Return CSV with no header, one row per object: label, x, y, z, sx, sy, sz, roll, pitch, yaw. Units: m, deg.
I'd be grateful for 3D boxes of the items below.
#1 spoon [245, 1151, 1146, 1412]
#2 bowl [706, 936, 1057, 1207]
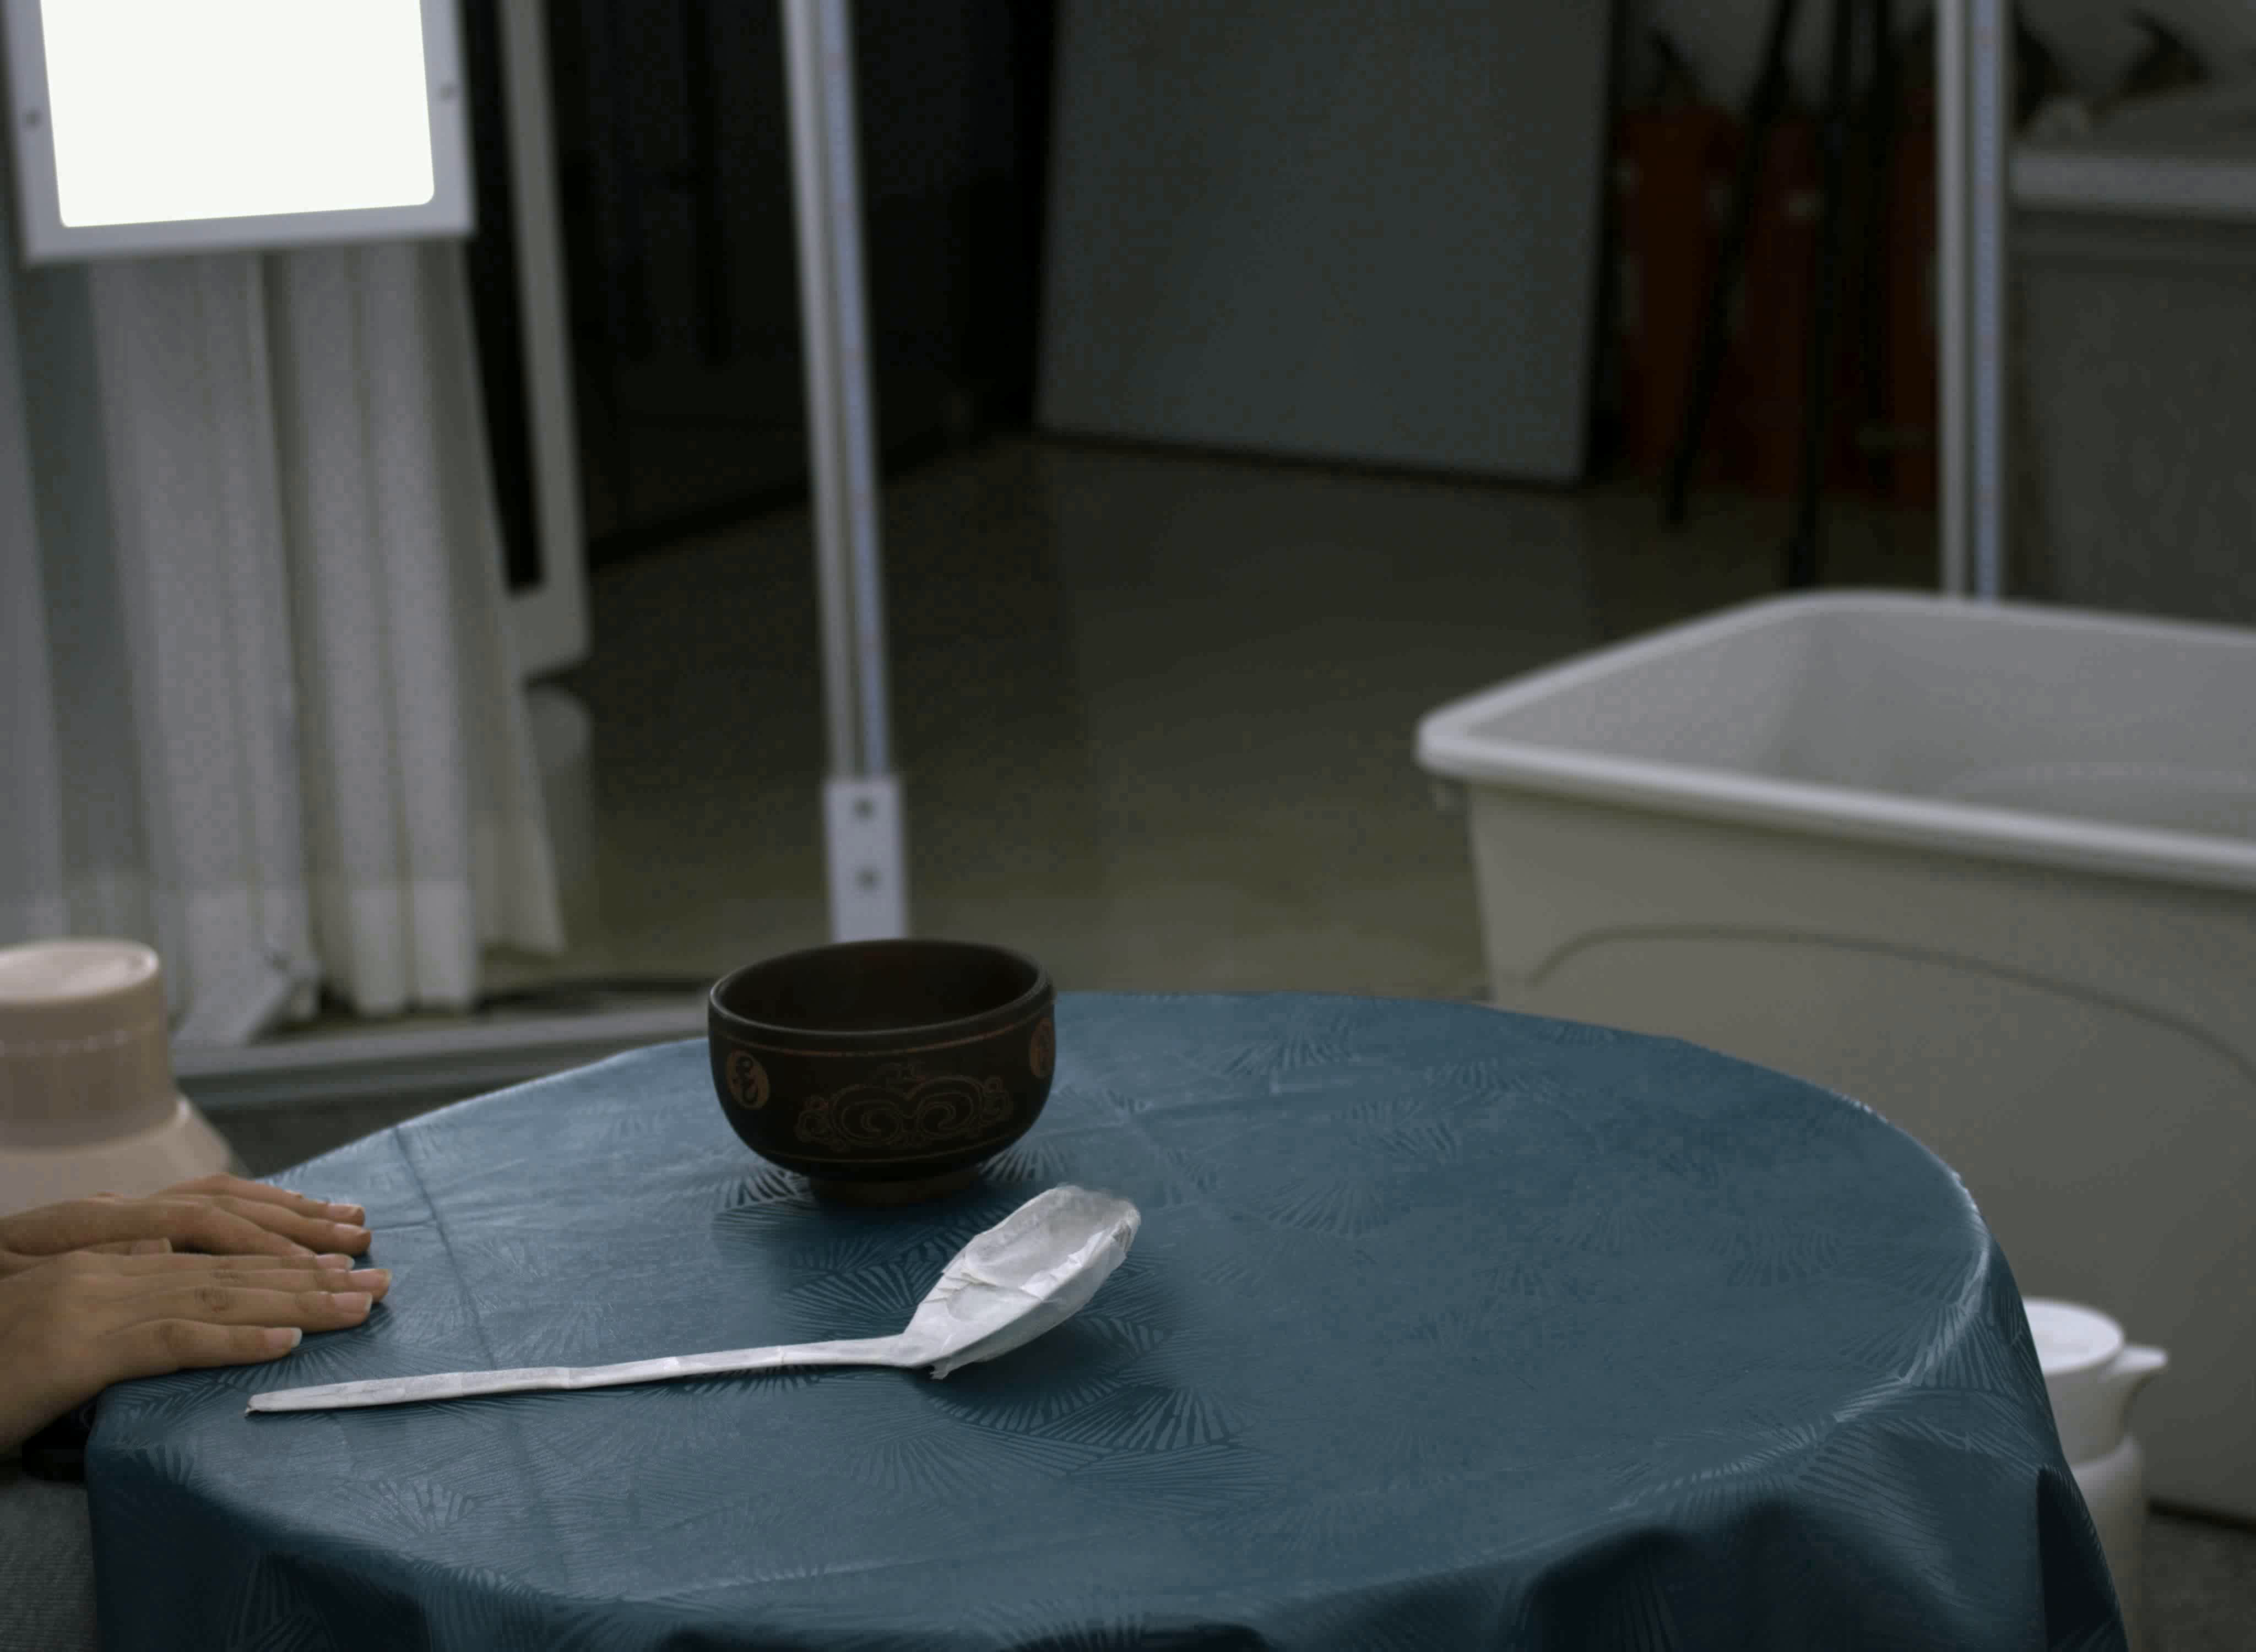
spoon,-0.130,0.137,1.625,0.274,0.060,0.101,-4,11,1
bowl,-0.080,0.085,1.790,0.116,0.070,0.118,-5,13,0
